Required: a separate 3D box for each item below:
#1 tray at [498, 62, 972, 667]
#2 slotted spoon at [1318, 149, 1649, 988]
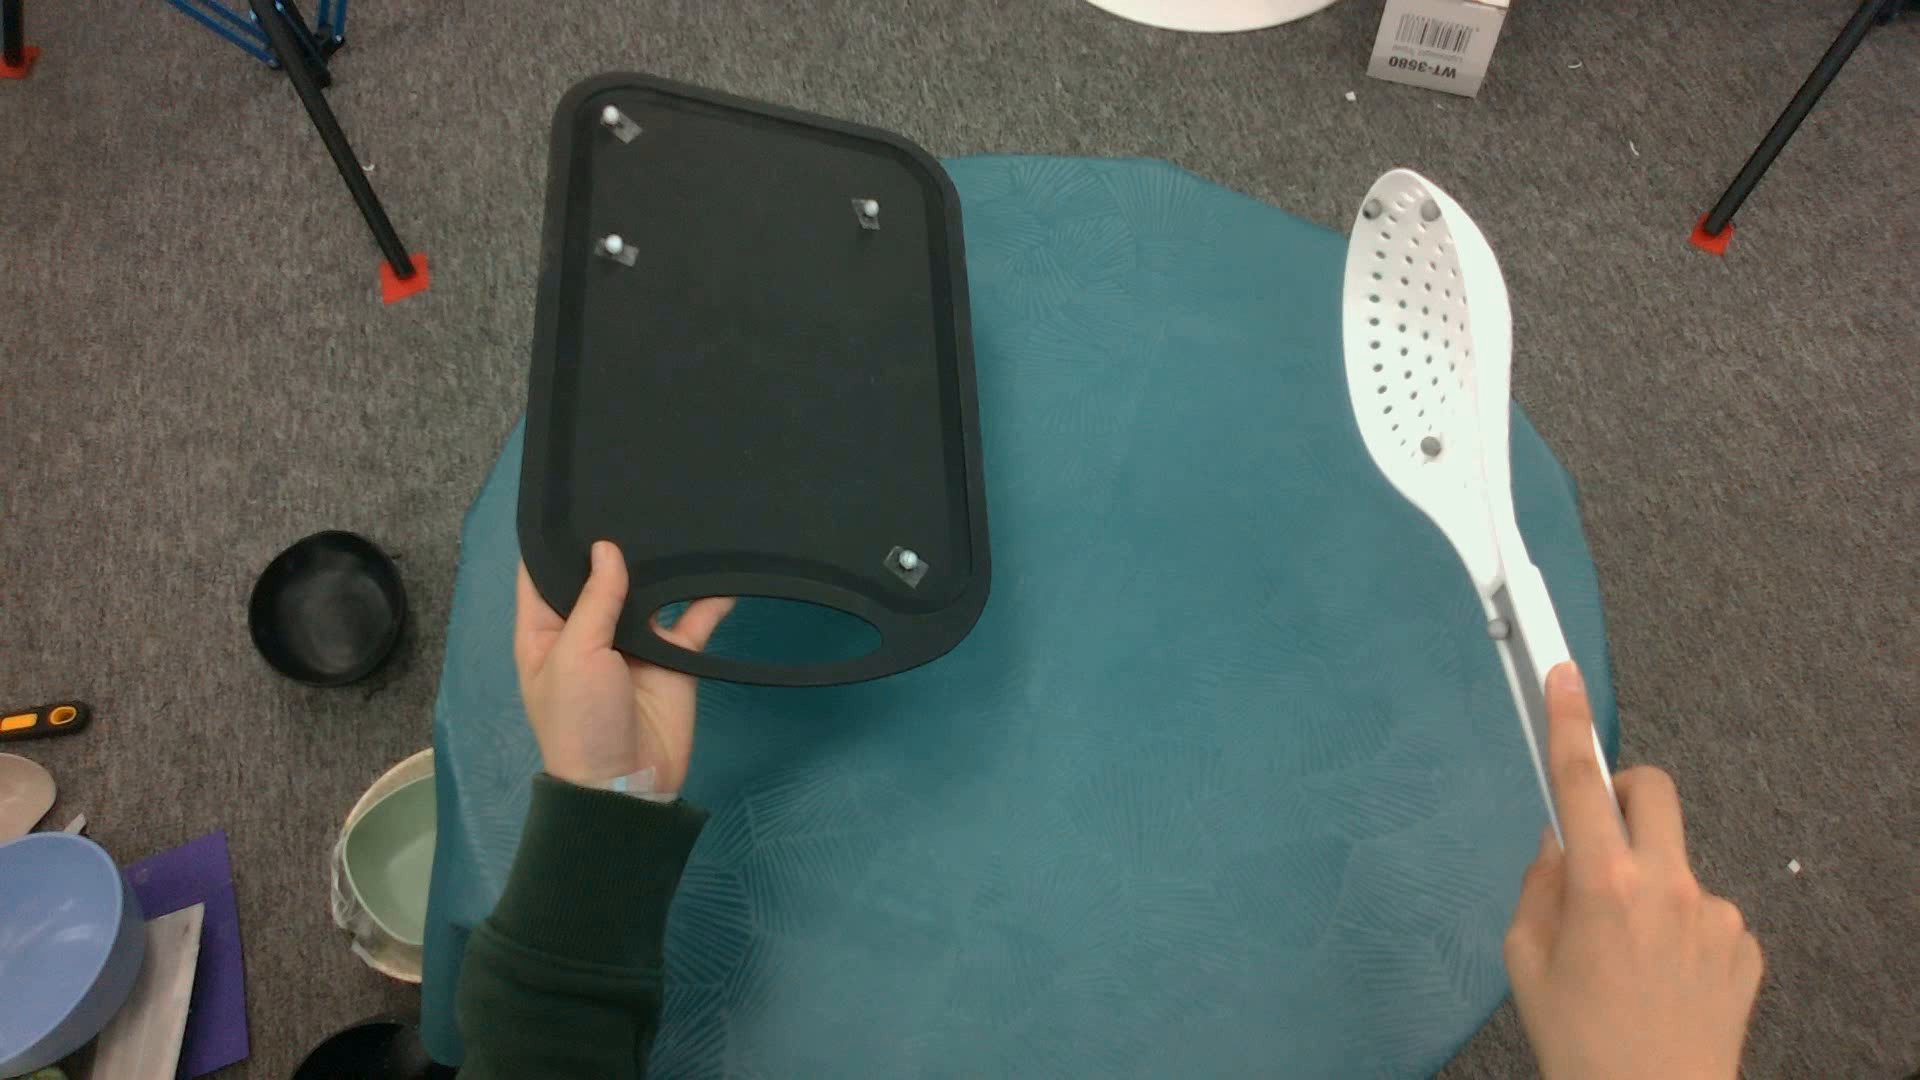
[{"bbox_3d":[-0.097,-0.092,0.646,0.211,0.010,0.326,7,60,-20],"label":"tray"},{"bbox_3d":[0.204,-0.004,0.550,0.046,0.135,0.351,0,62,-6],"label":"slotted spoon"}]
